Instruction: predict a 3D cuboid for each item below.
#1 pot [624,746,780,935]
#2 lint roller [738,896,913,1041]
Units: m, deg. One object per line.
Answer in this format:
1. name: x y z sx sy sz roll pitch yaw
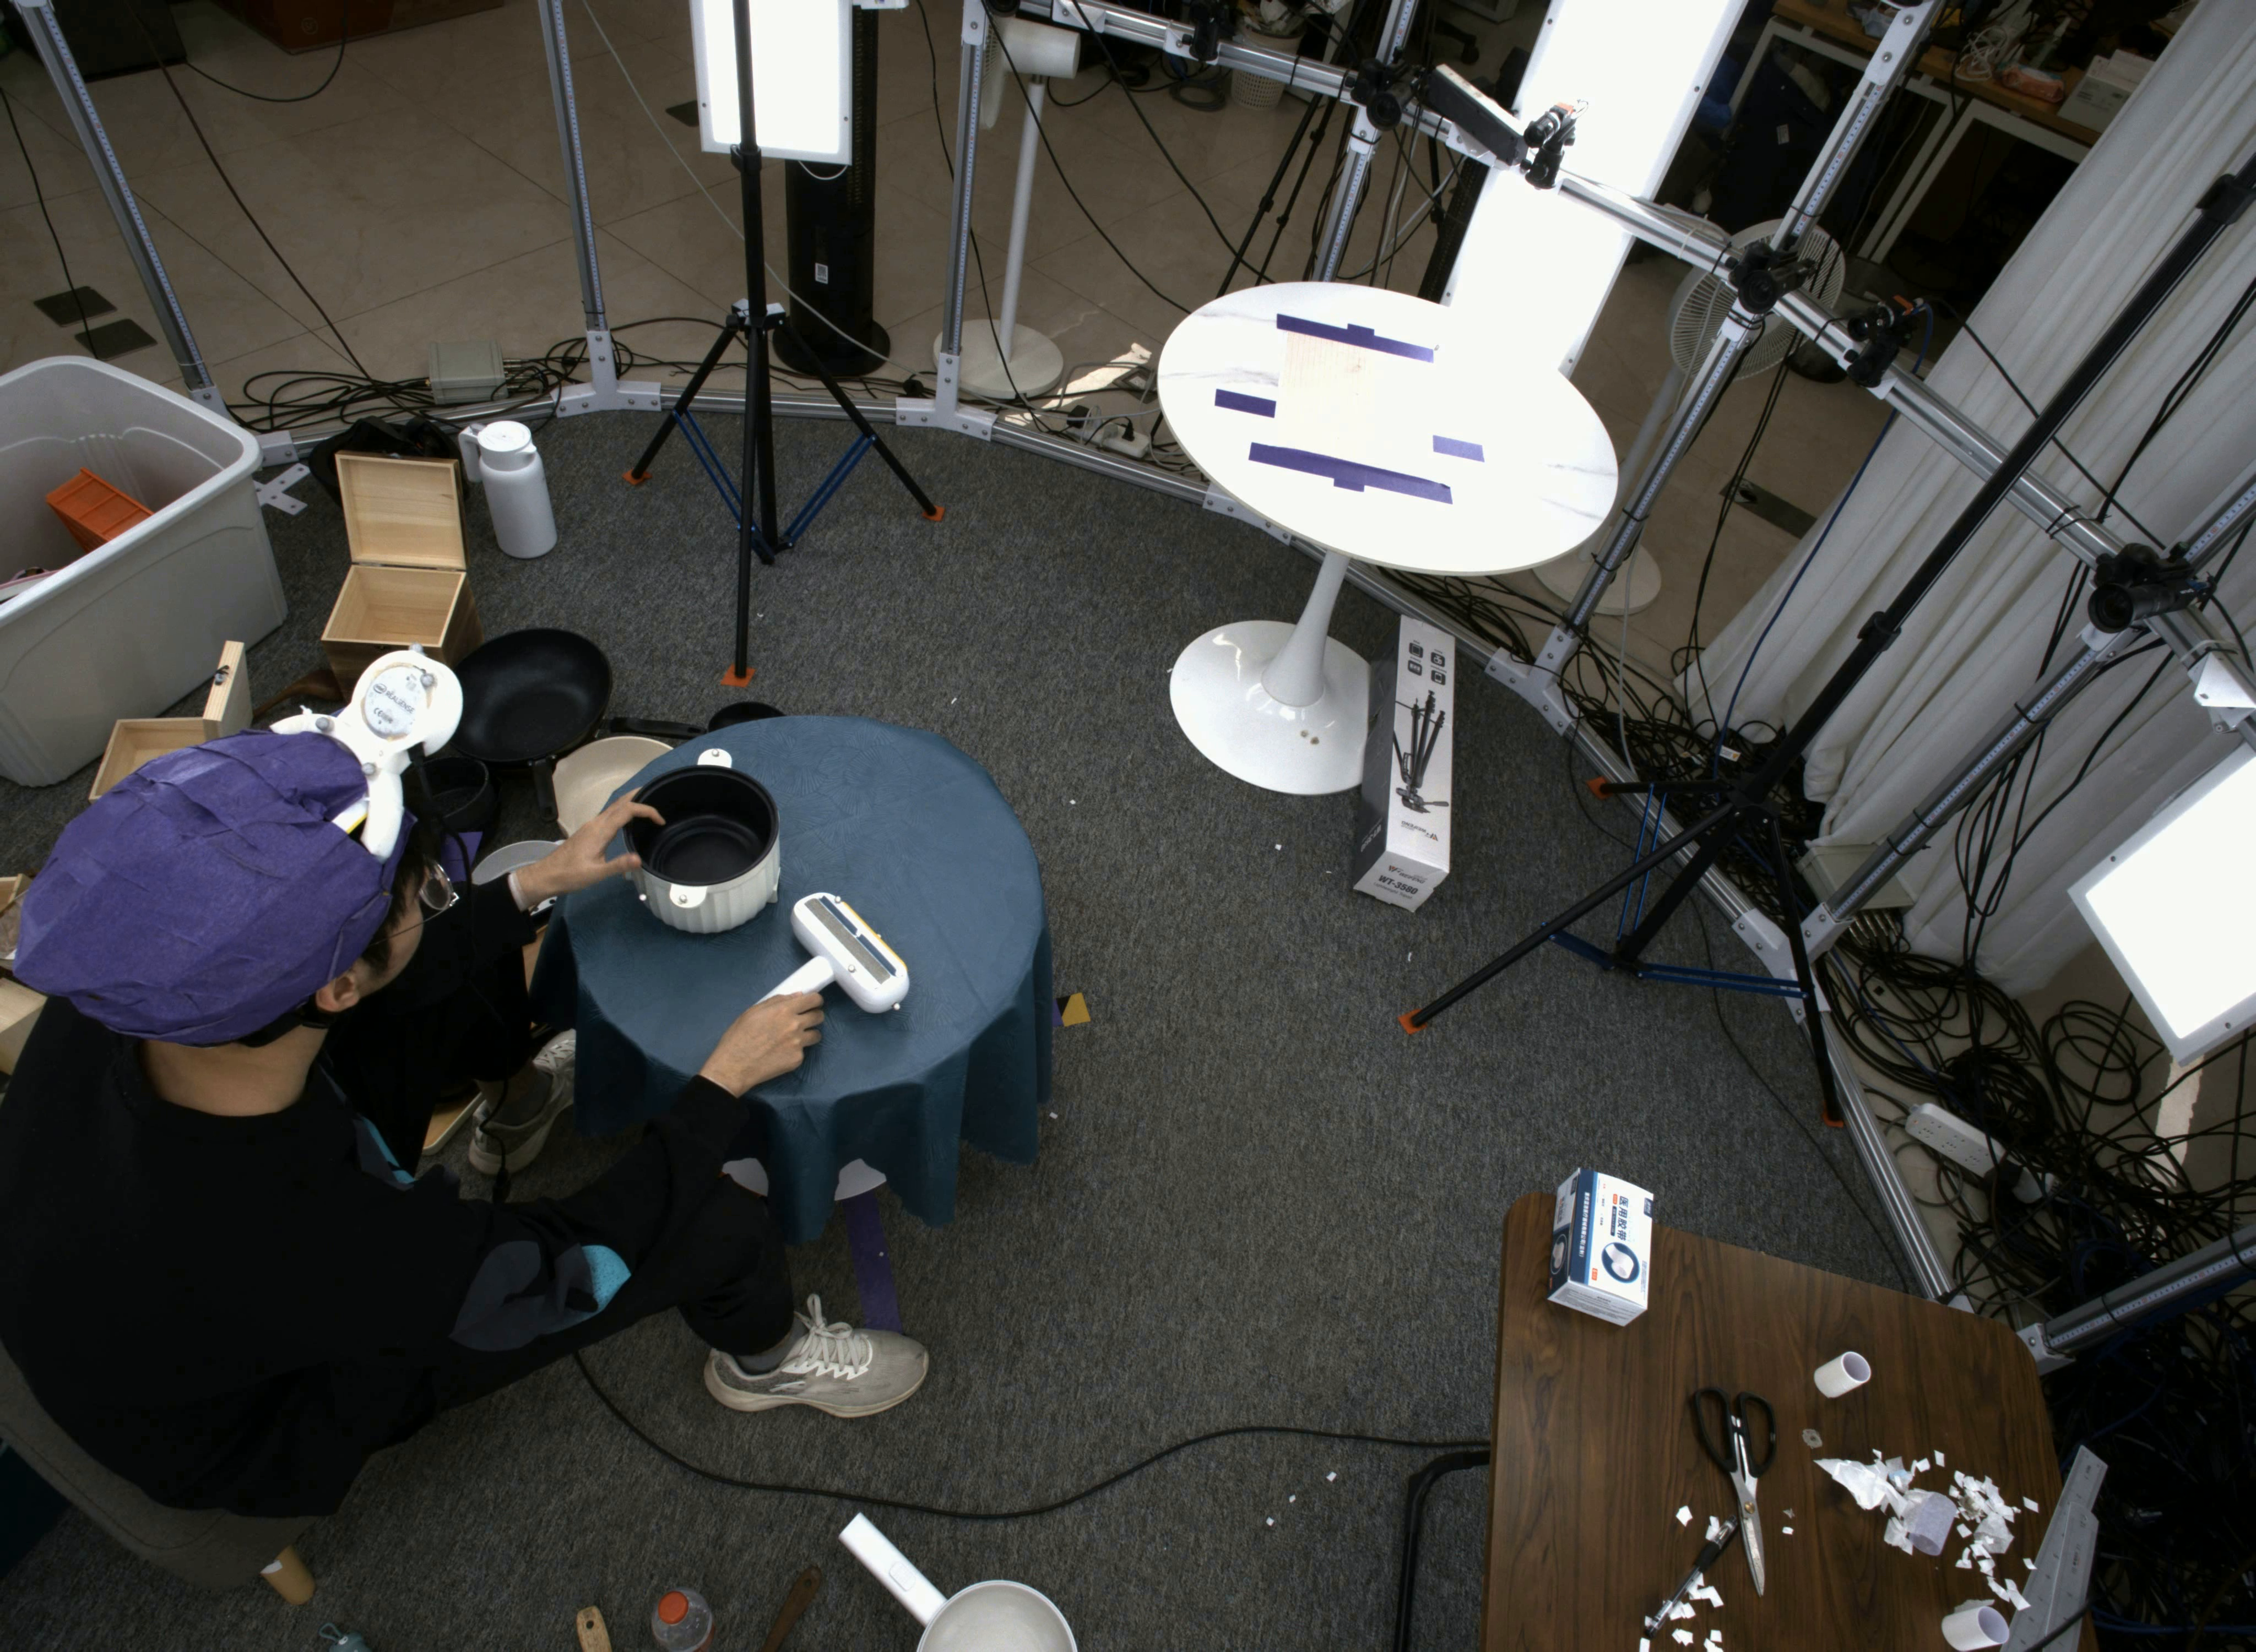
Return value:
1. pot: -0.527 0.034 1.587 0.191 0.145 0.235 6 51 -13
2. lint roller: -0.382 0.185 1.560 0.193 0.076 0.187 -29 60 -29
